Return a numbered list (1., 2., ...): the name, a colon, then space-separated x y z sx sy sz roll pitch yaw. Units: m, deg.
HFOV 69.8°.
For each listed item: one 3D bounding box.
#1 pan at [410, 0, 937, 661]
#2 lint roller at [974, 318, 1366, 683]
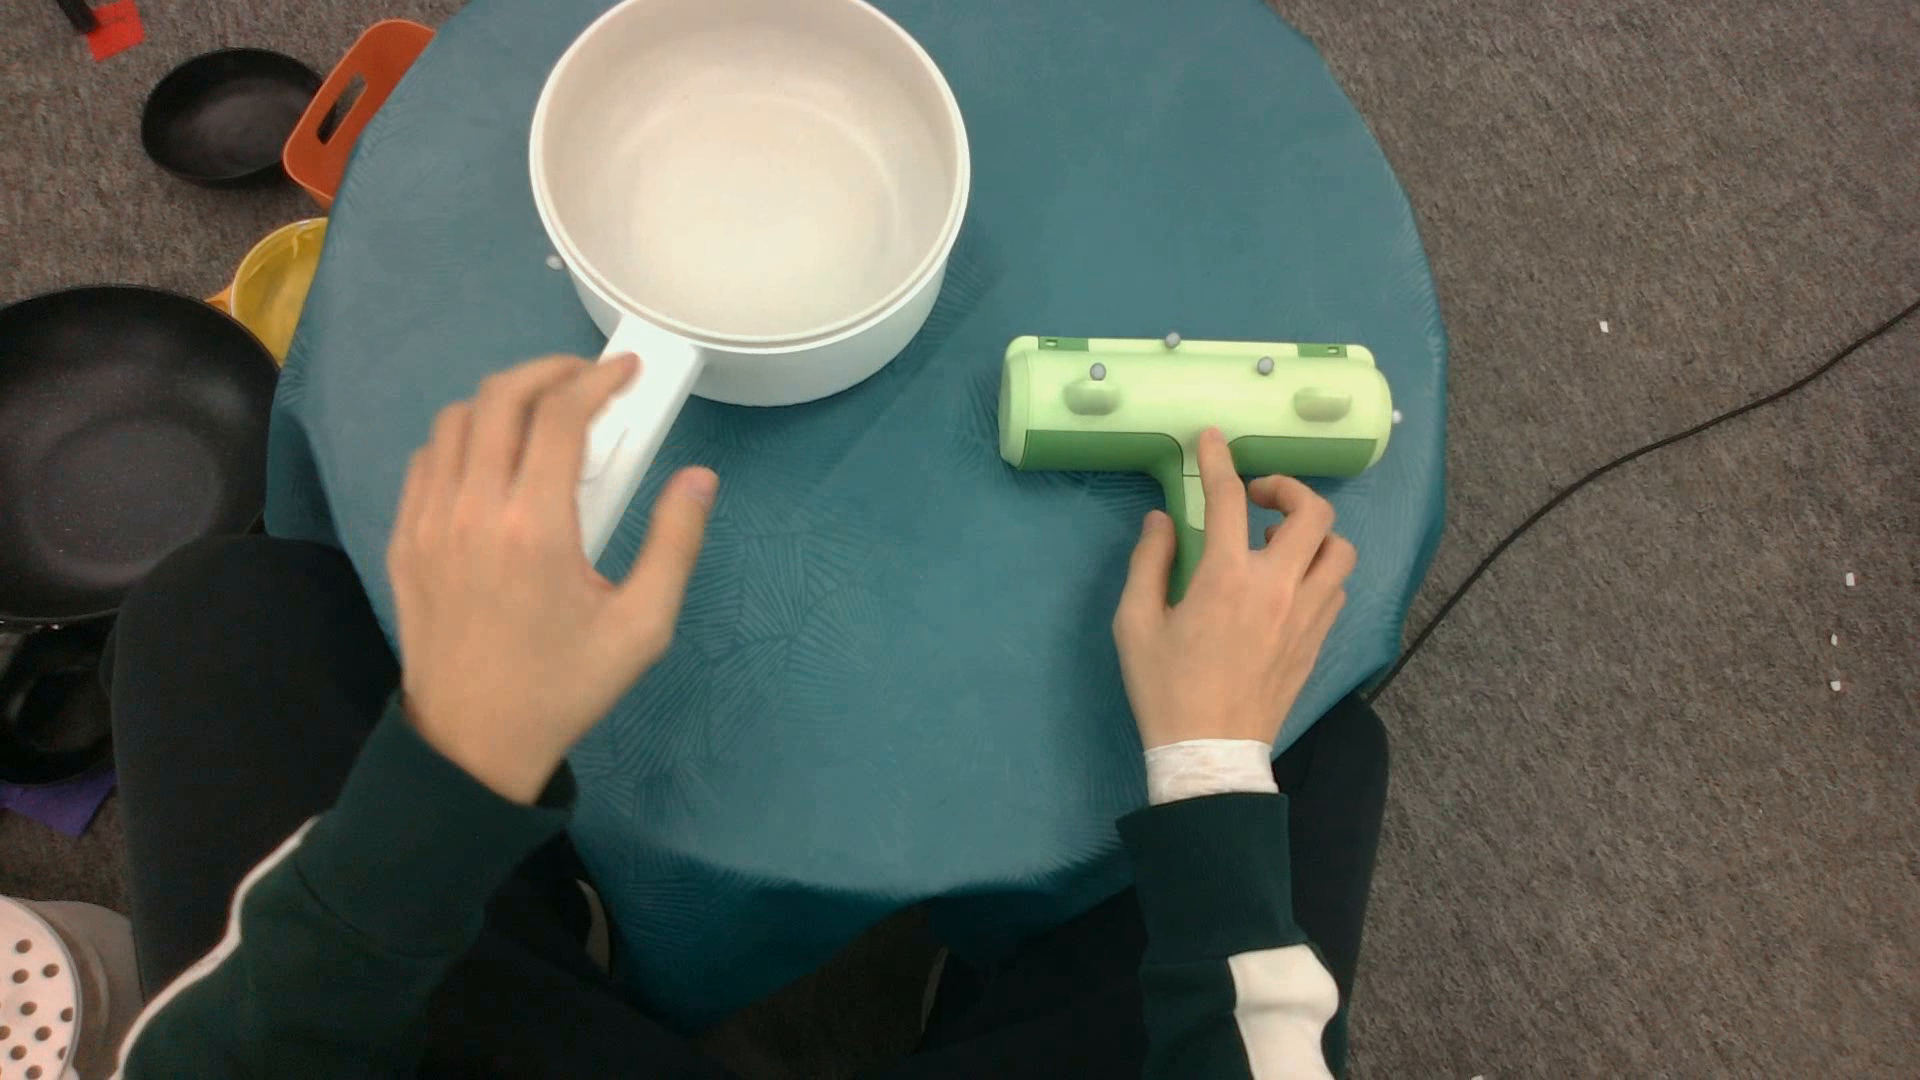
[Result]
1. pan: -0.144 -0.103 0.657 0.201 0.102 0.356 23 72 0
2. lint roller: 0.111 -0.027 0.678 0.199 0.082 0.184 0 67 -8
